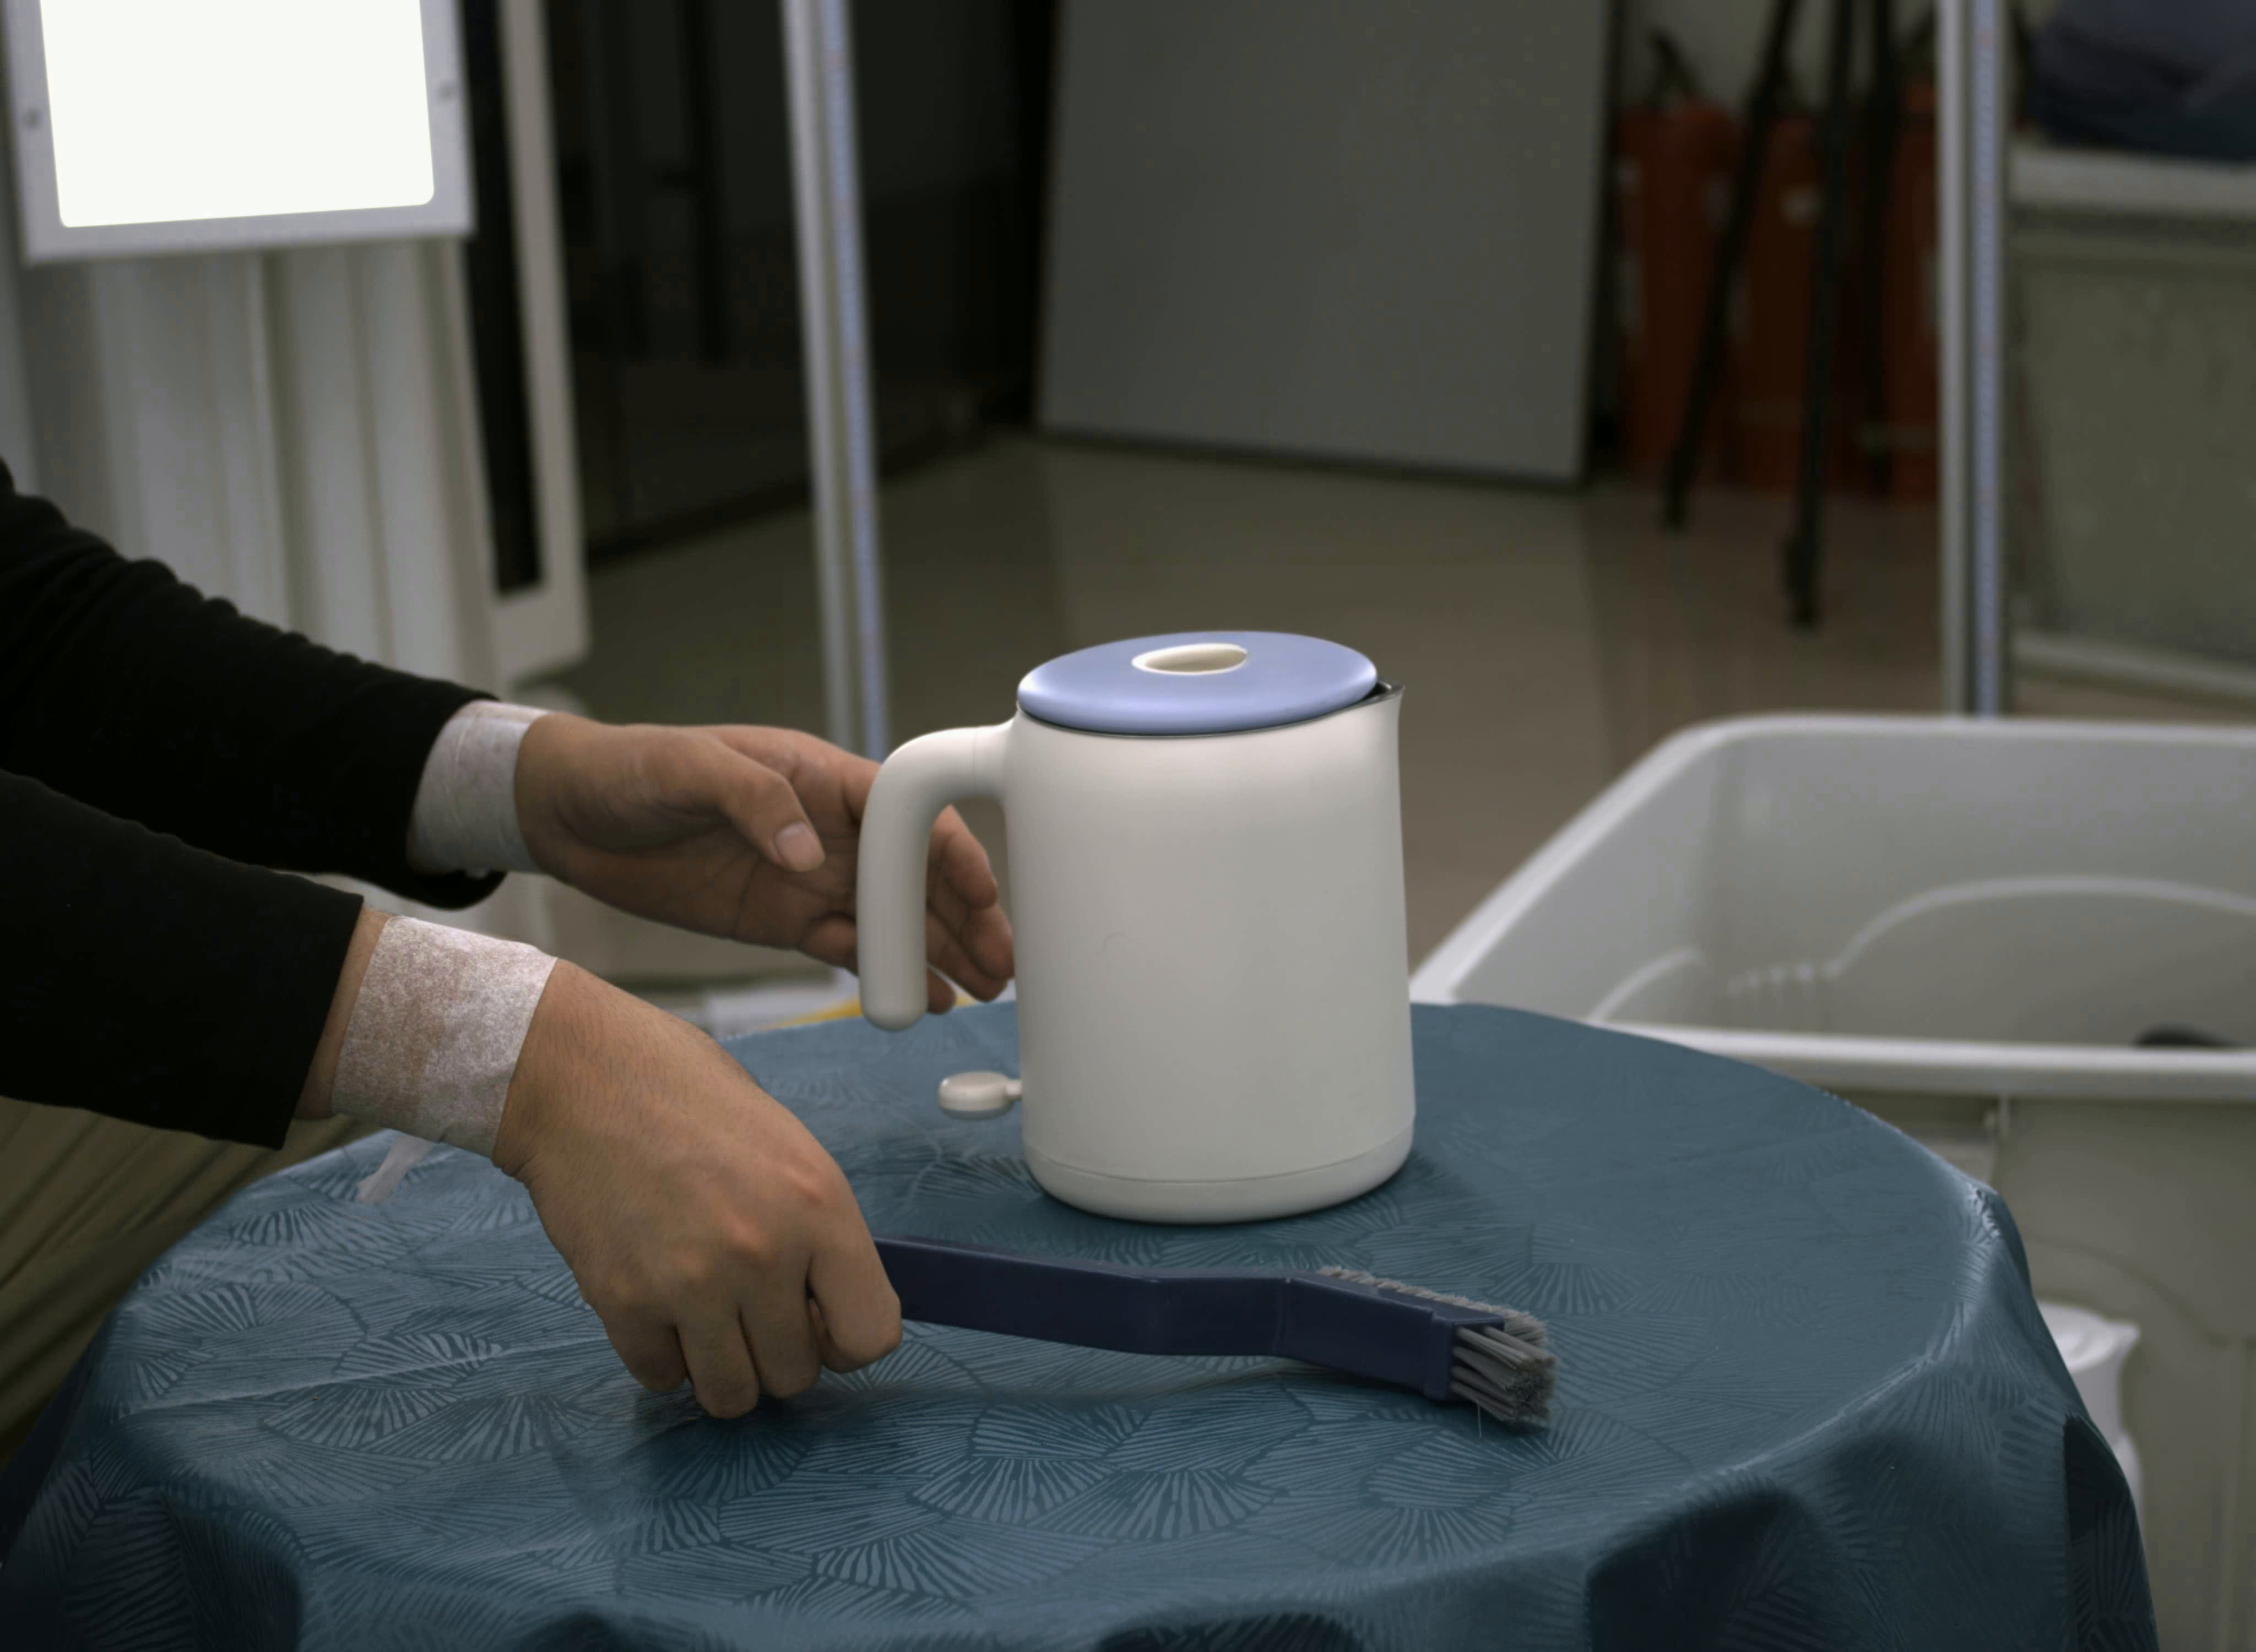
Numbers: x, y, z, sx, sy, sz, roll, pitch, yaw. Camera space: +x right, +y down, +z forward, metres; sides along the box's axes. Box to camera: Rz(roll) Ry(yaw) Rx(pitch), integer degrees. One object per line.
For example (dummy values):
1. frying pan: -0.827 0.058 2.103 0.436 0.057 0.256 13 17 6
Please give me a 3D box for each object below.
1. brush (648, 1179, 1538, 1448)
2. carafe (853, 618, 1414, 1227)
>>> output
1. brush: -0.014 0.141 1.579 0.271 0.034 0.095 5 15 8
2. carafe: 0.002 0.032 1.770 0.189 0.184 0.132 -3 13 10
